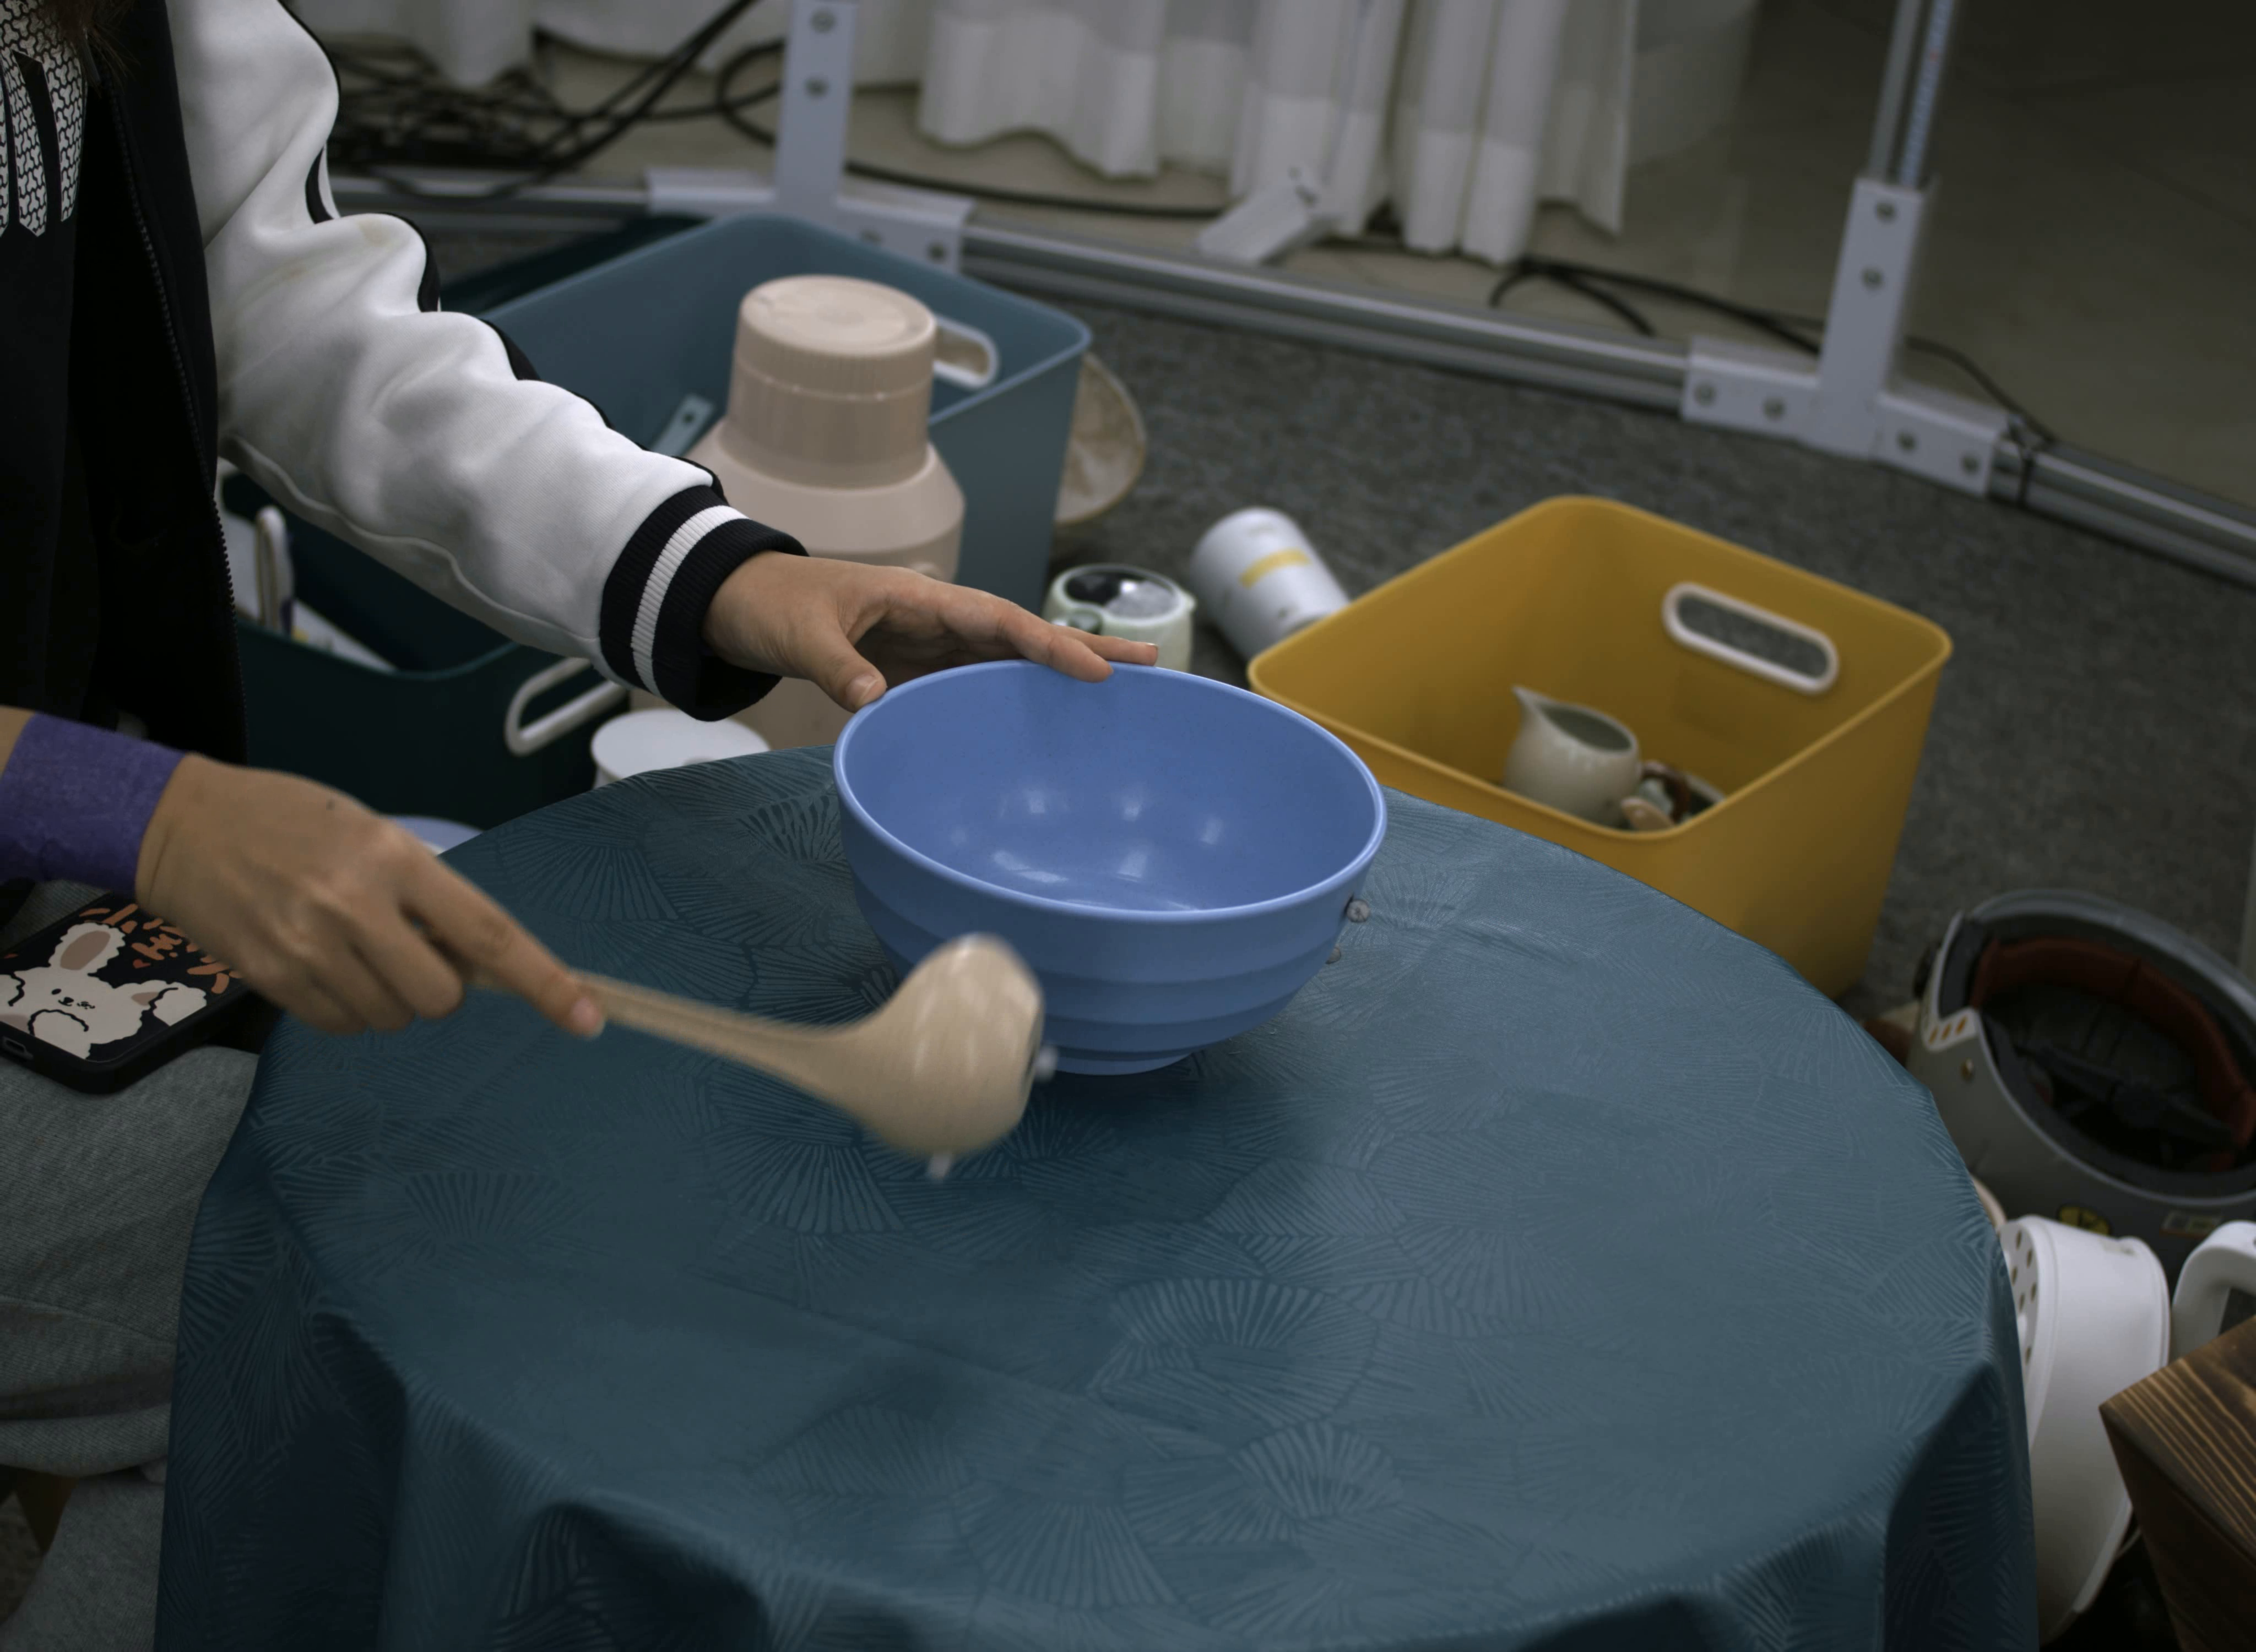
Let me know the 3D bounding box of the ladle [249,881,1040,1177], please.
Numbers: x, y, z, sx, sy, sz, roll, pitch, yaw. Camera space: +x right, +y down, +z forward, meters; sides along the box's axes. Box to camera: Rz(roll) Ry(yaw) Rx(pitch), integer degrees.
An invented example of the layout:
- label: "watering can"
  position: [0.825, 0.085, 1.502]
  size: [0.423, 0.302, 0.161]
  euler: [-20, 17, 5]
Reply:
- label: "ladle"
  position: [-0.152, 0.046, 1.706]
  size: [0.254, 0.072, 0.073]
  euler: [18, 31, 10]

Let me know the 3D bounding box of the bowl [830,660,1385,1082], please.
- label: "bowl"
  position: [-0.011, 0.028, 1.890]
  size: [0.196, 0.095, 0.198]
  euler: [4, 28, -3]
